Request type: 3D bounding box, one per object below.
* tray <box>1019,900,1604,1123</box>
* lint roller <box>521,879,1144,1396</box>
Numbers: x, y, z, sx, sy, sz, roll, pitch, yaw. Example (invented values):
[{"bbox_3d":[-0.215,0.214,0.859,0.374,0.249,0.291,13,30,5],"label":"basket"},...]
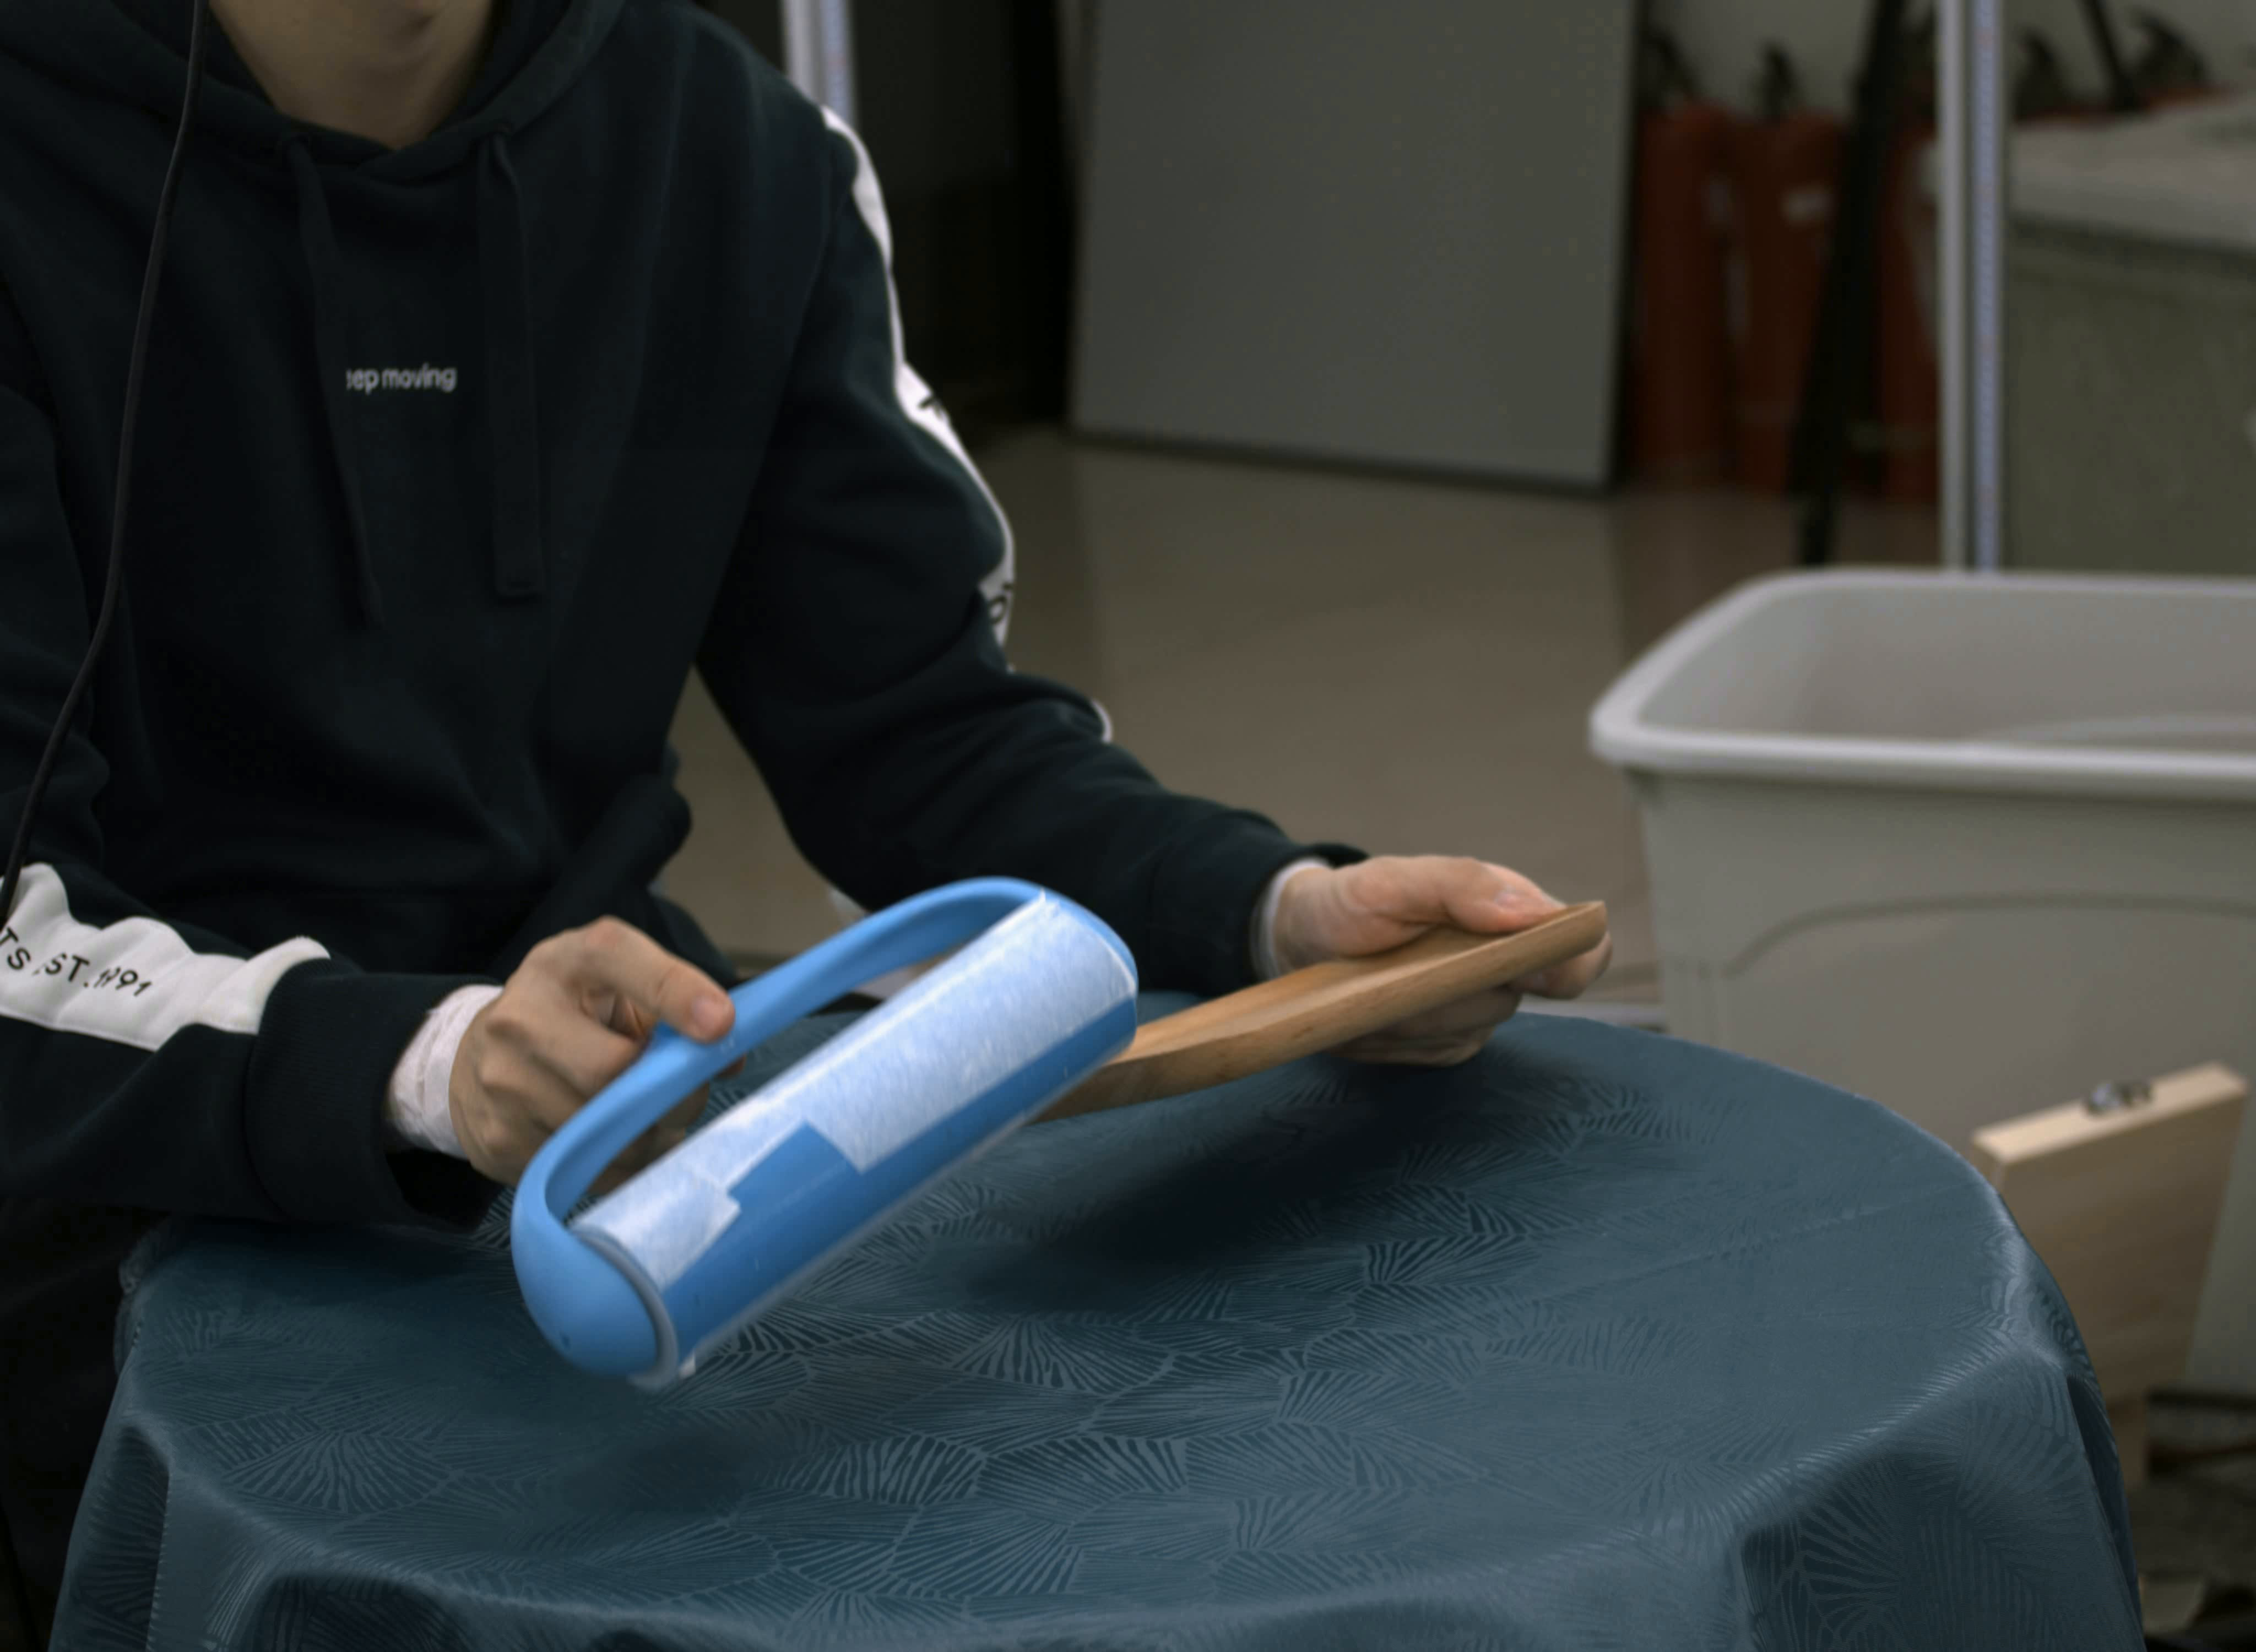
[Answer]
[{"bbox_3d":[0.050,0.062,1.762,0.131,0.023,0.246,-18,-1,40],"label":"tray"},{"bbox_3d":[-0.119,0.088,1.601,0.182,0.068,0.226,3,32,46],"label":"lint roller"}]
